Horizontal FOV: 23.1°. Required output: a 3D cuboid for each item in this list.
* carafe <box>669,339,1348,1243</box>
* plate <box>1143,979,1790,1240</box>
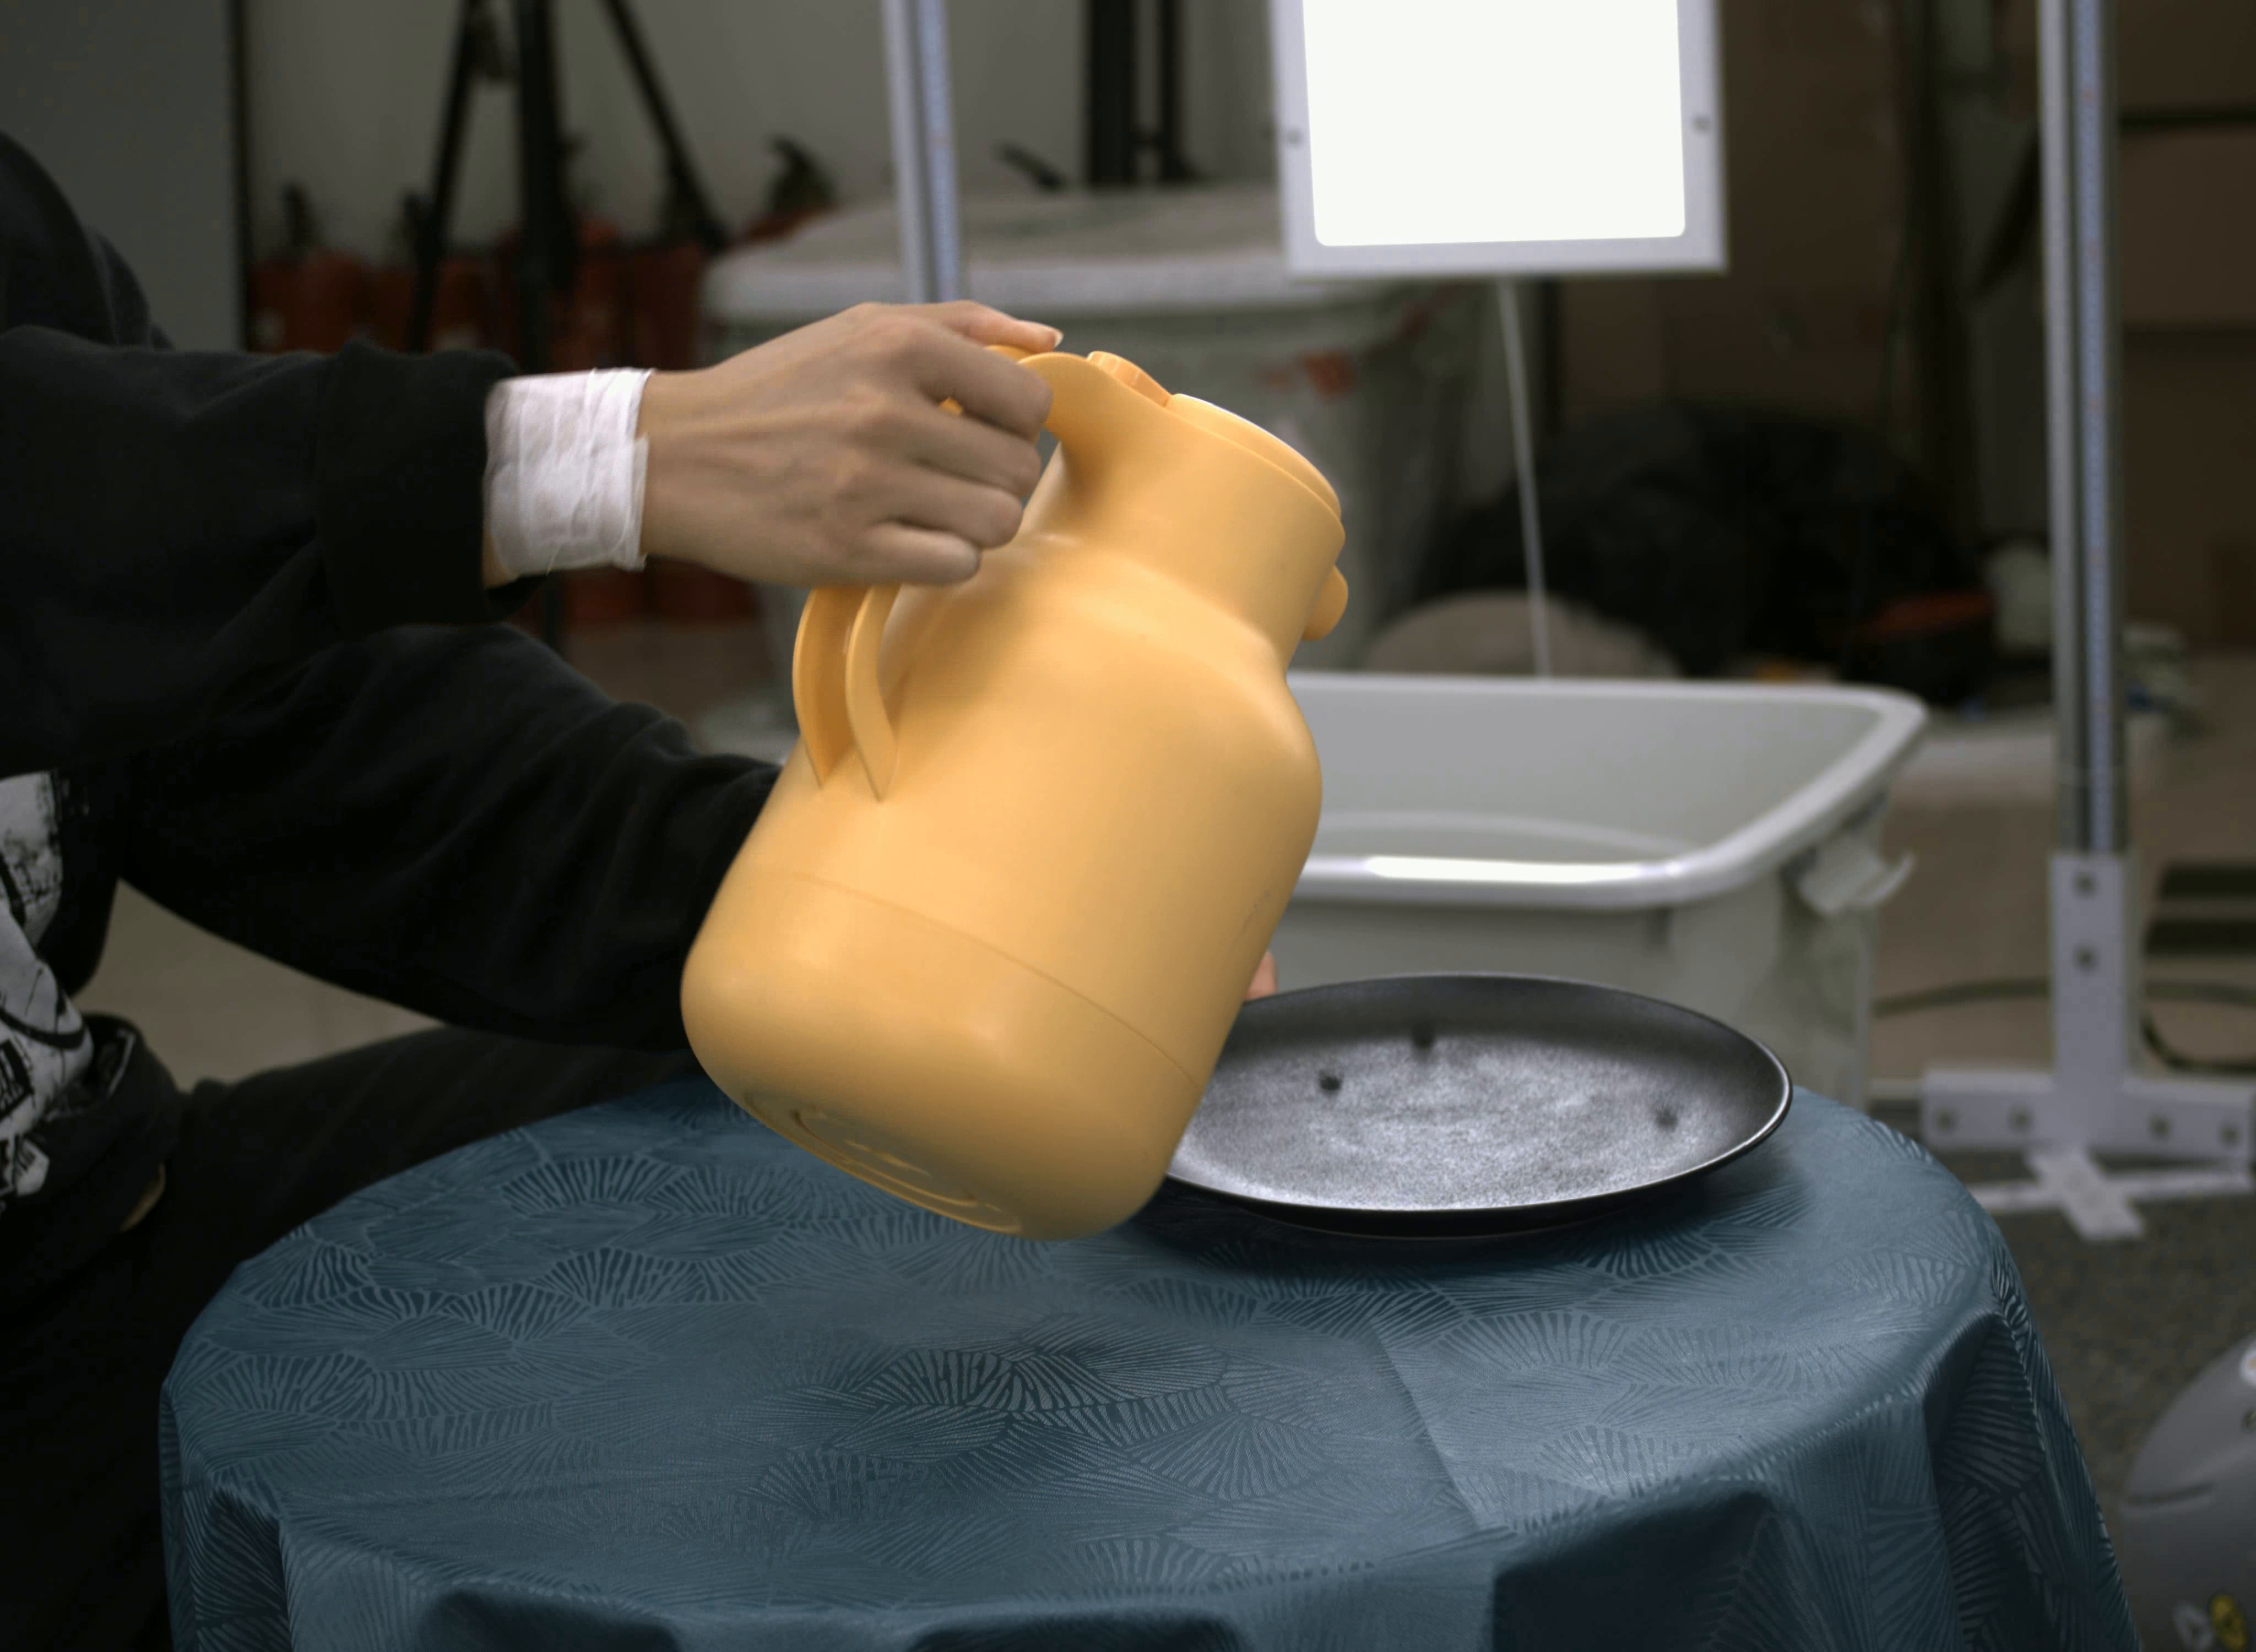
[{"bbox_3d":[-0.036,-0.020,1.712,0.167,0.259,0.199,11,-21,46],"label":"carafe"},{"bbox_3d":[0.107,0.100,1.896,0.243,0.023,0.244,-3,17,0],"label":"plate"}]
